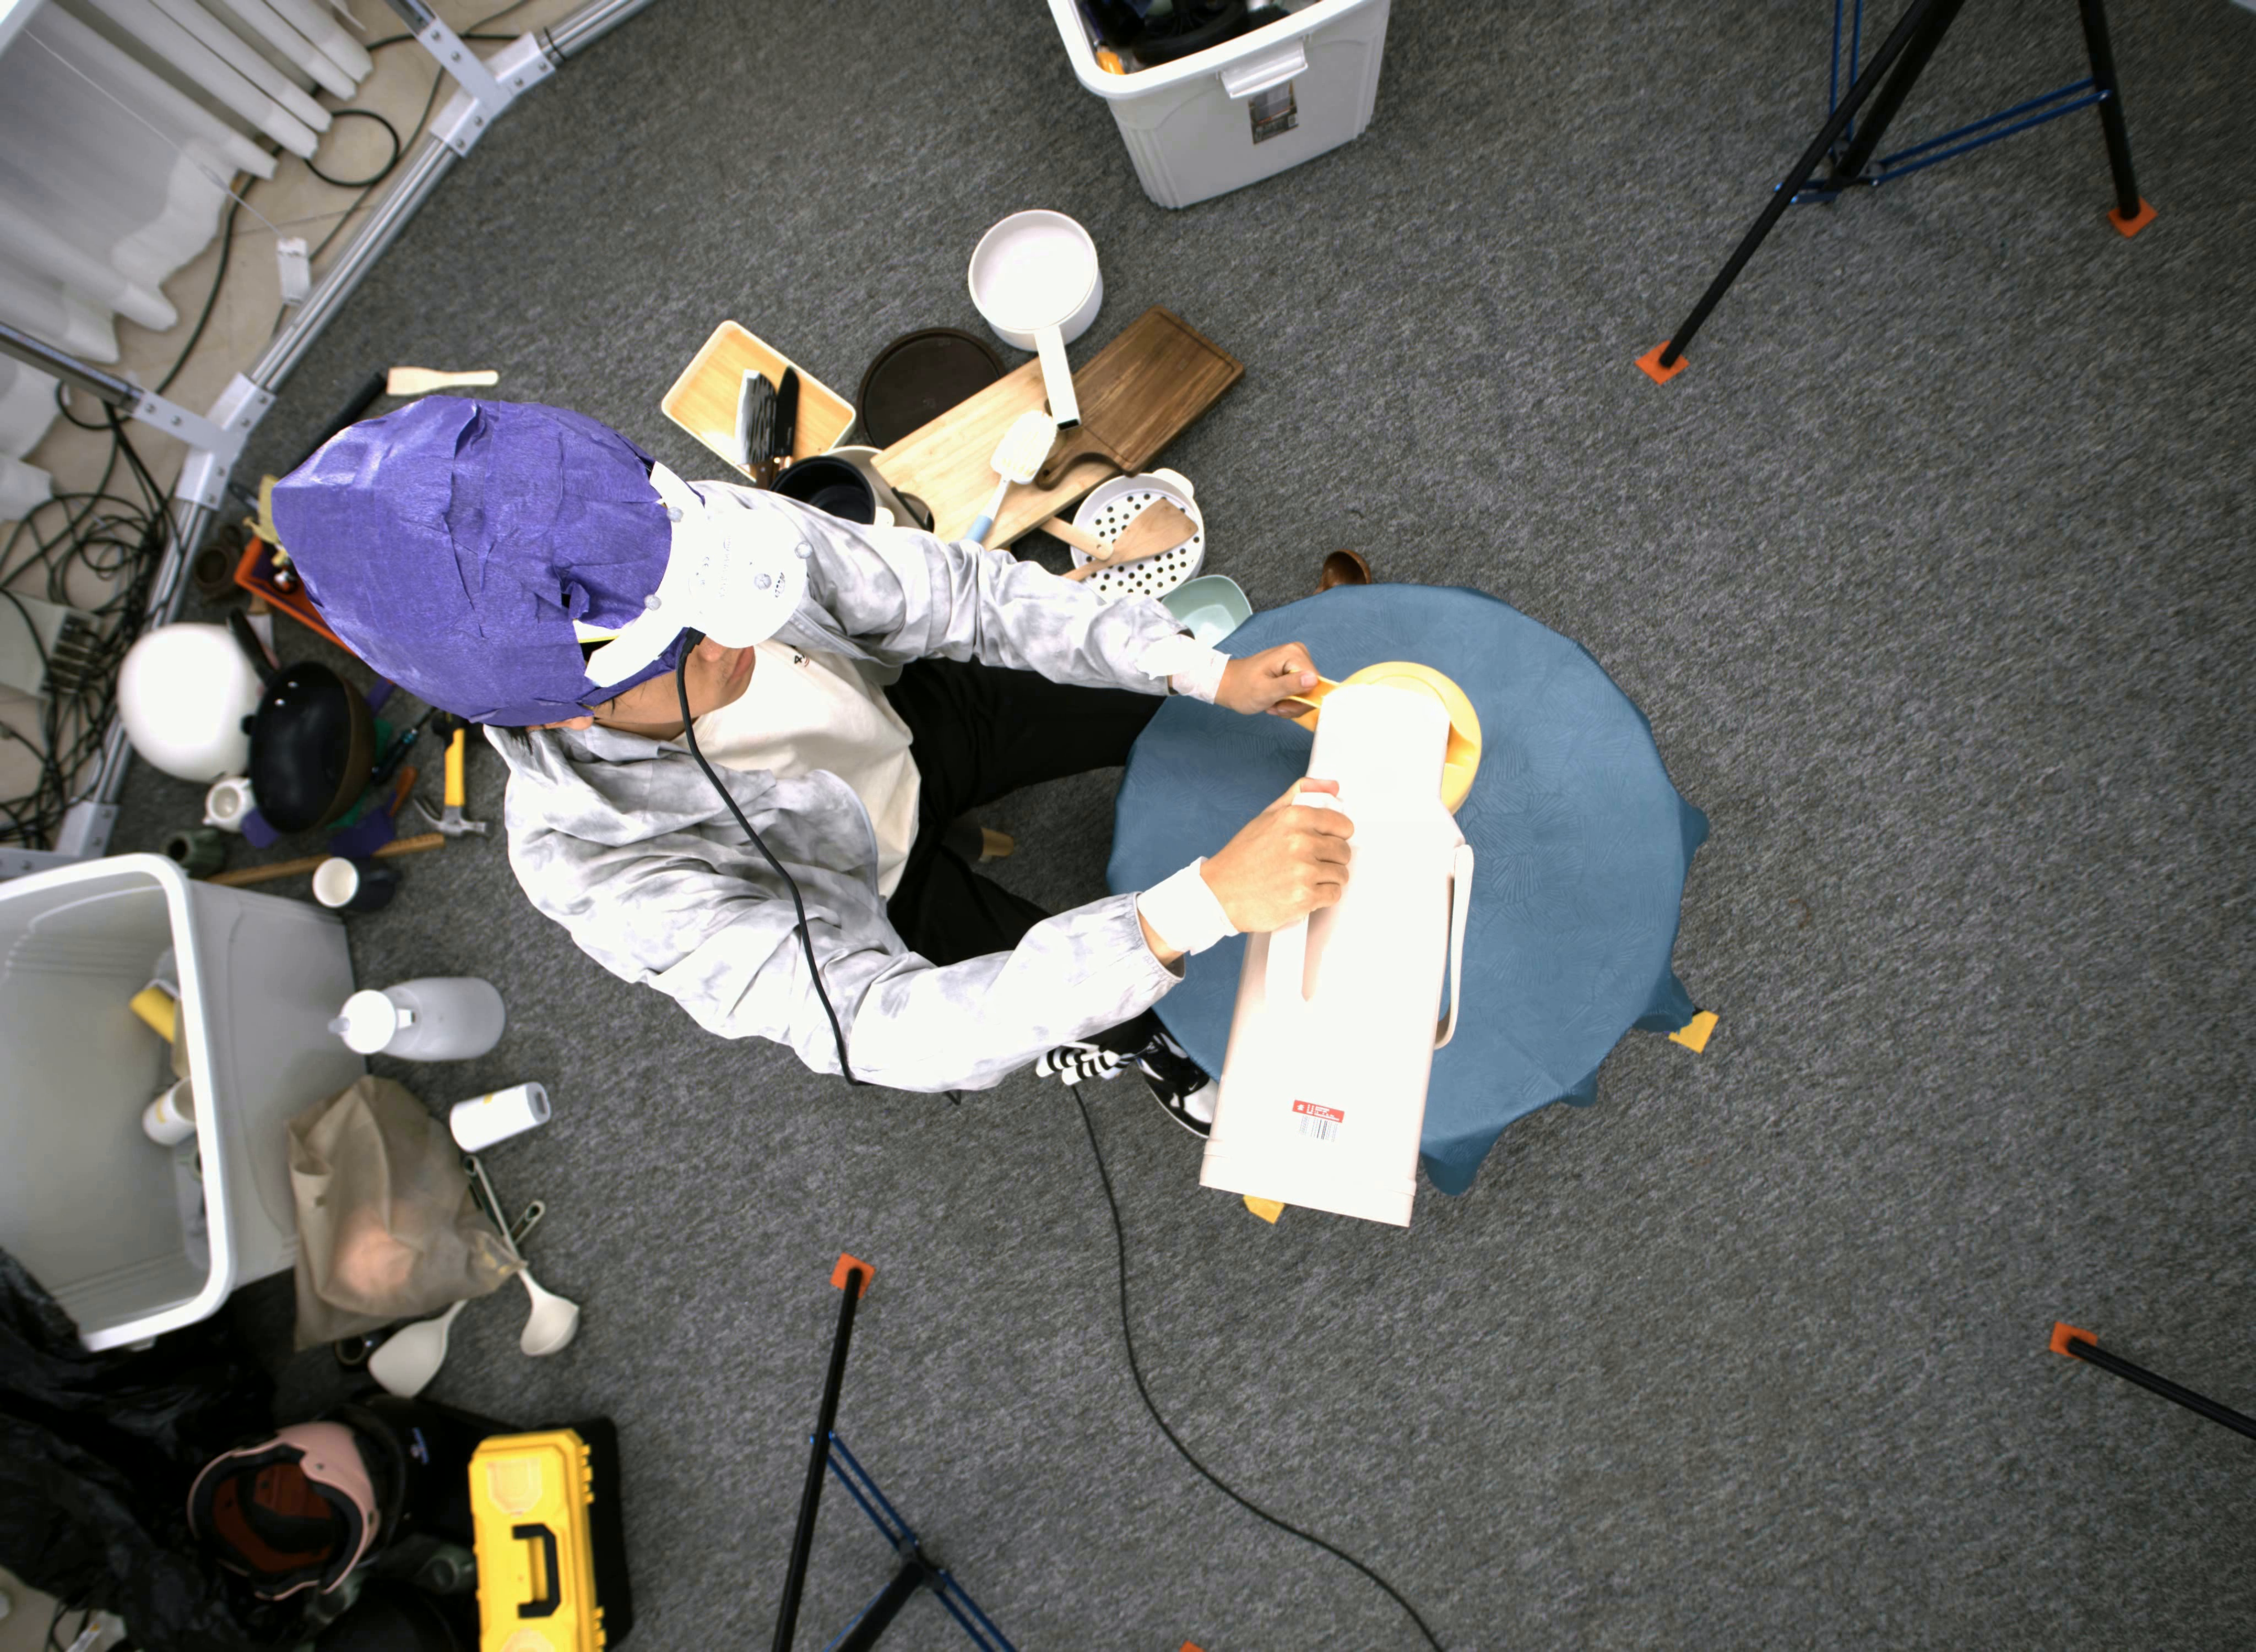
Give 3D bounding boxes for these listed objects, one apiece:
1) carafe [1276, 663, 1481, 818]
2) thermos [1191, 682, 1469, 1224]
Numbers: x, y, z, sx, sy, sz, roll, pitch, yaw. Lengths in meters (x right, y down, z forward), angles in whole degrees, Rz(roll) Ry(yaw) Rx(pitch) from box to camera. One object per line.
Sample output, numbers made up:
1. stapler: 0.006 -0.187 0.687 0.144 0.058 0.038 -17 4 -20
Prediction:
1. carafe: 0.243 -0.087 1.339 0.202 0.261 0.163 26 87 10
2. thermos: 0.157 0.089 1.064 0.176 0.208 0.402 7 78 32
